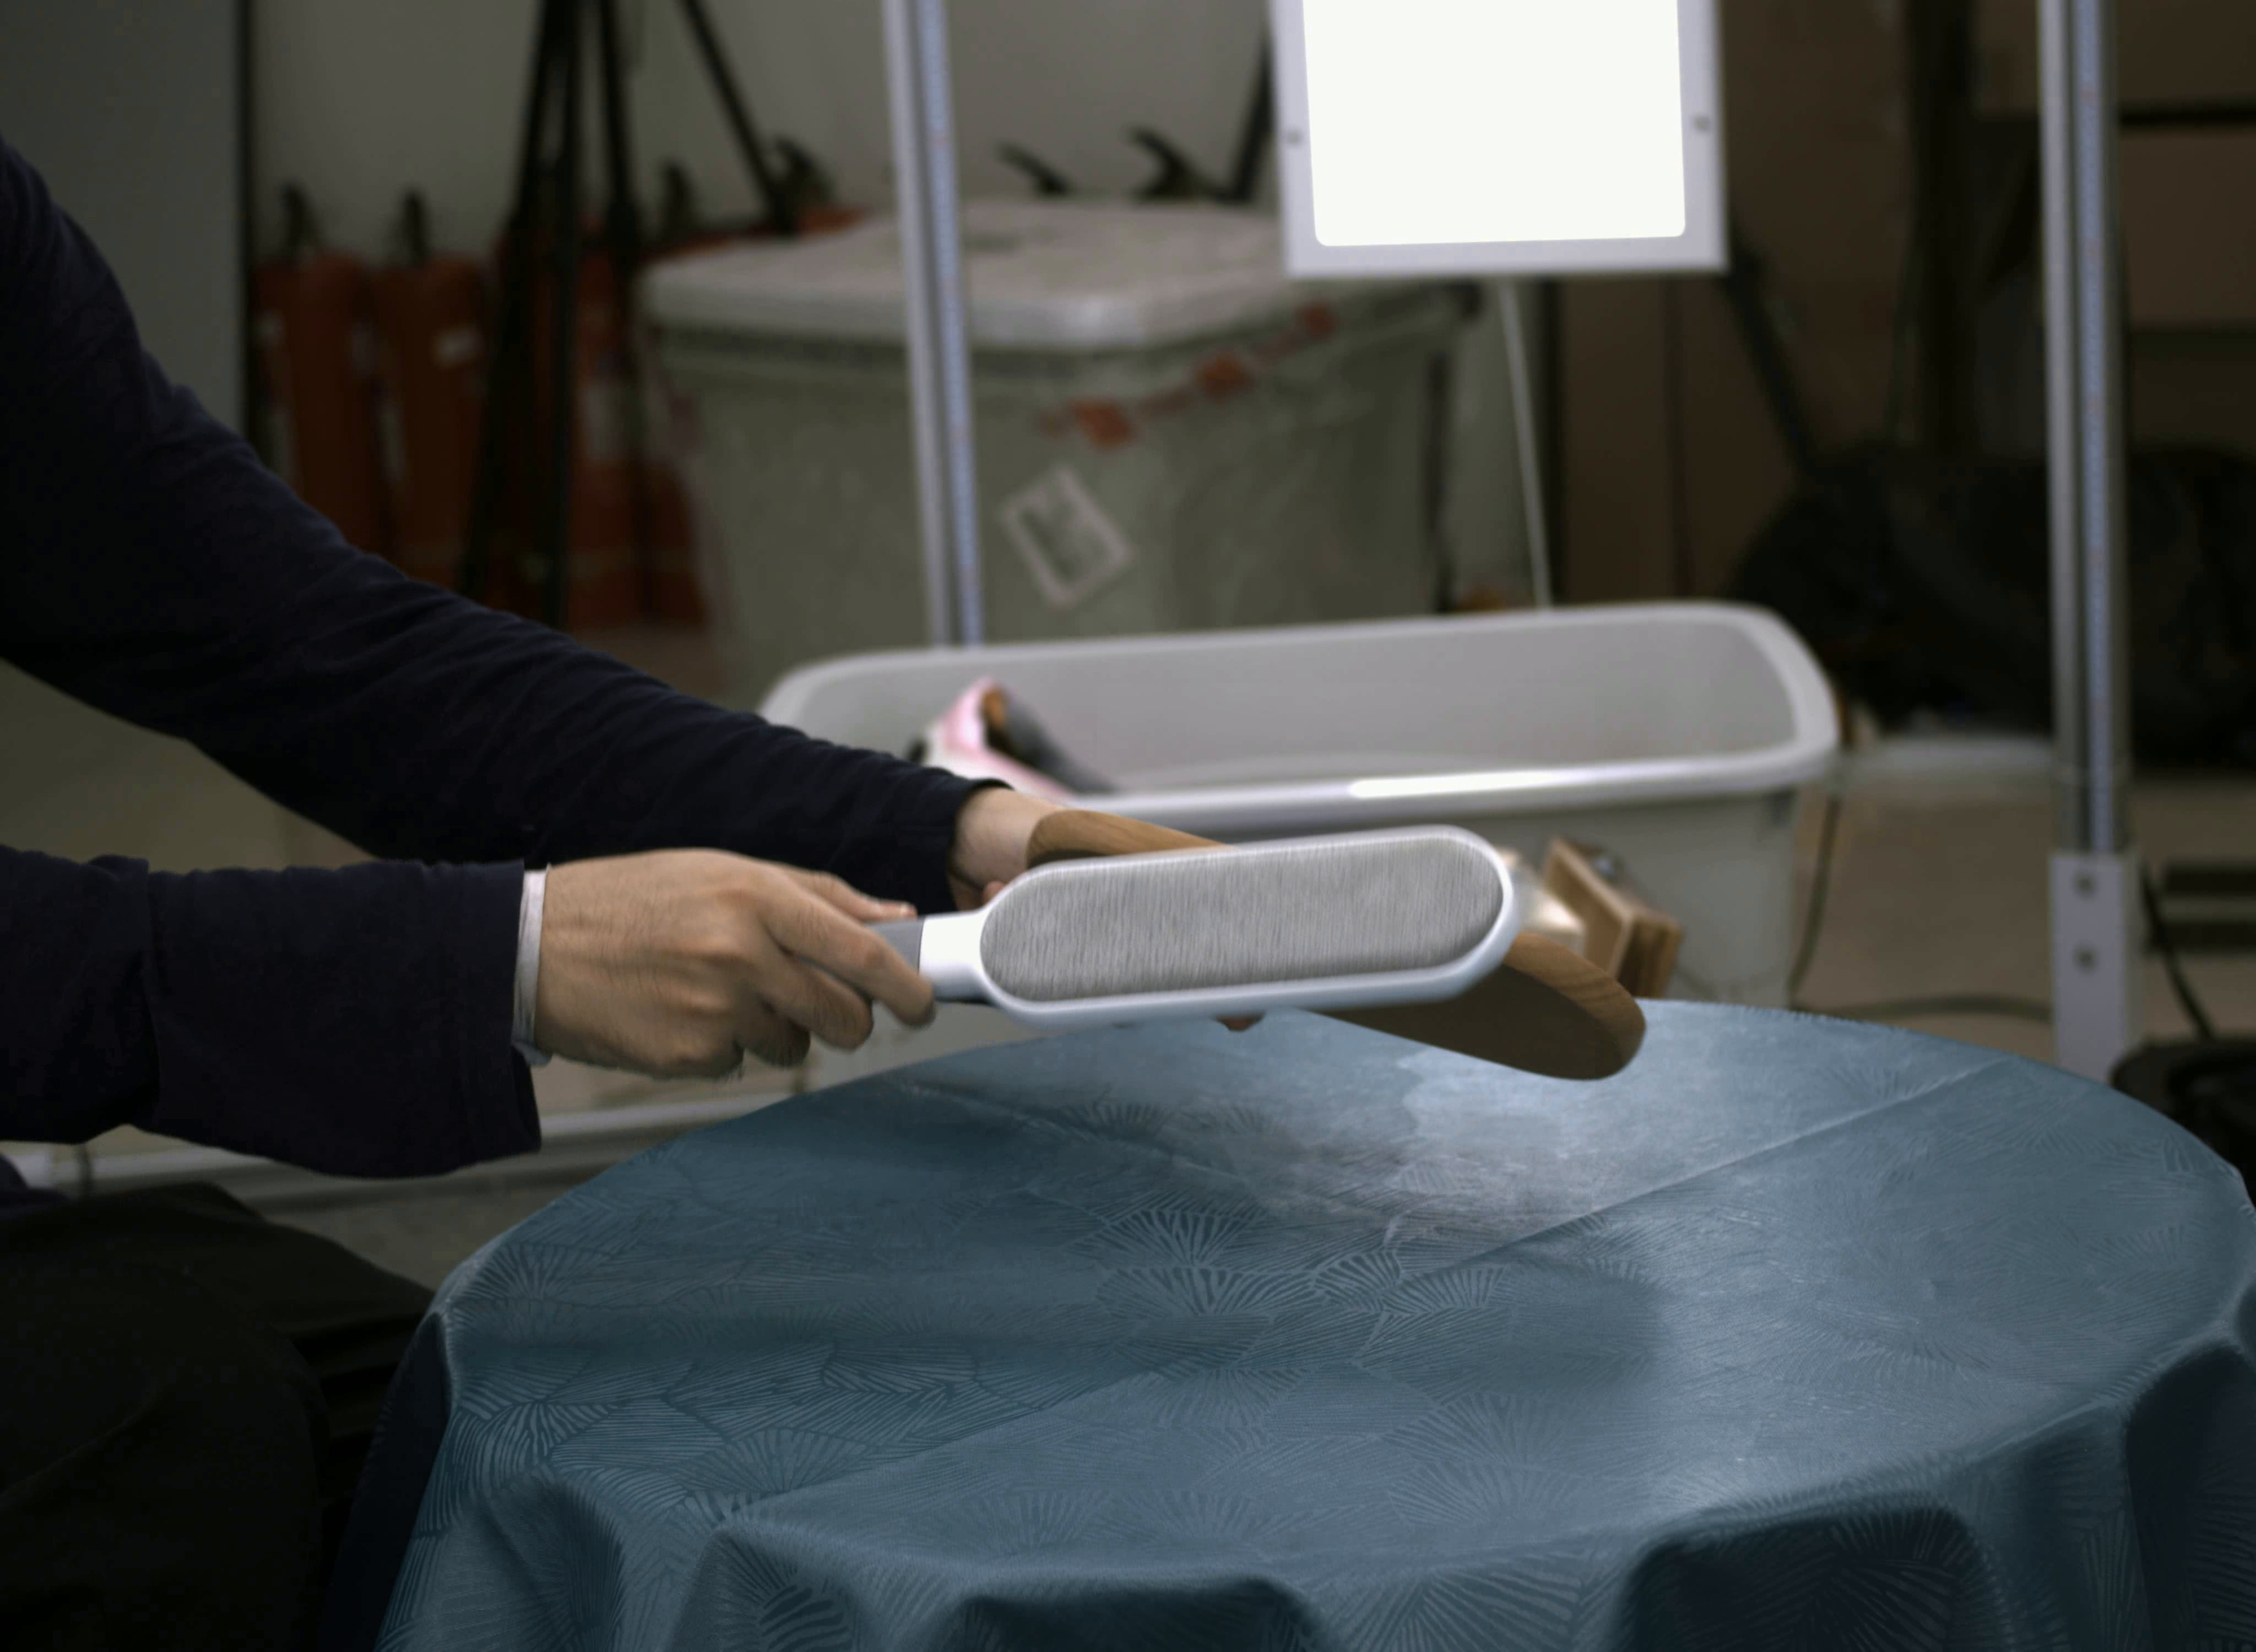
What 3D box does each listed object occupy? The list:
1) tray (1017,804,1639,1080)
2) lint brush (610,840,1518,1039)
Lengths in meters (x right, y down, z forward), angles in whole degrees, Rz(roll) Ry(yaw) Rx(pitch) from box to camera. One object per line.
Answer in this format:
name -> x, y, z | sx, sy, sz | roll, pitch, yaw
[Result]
tray -> 0.067, 0.041, 1.894 | 0.234, 0.020, 0.101 | 14, -25, 23
lint brush -> -0.024, 0.040, 1.781 | 0.313, 0.060, 0.021 | -5, -26, 20
